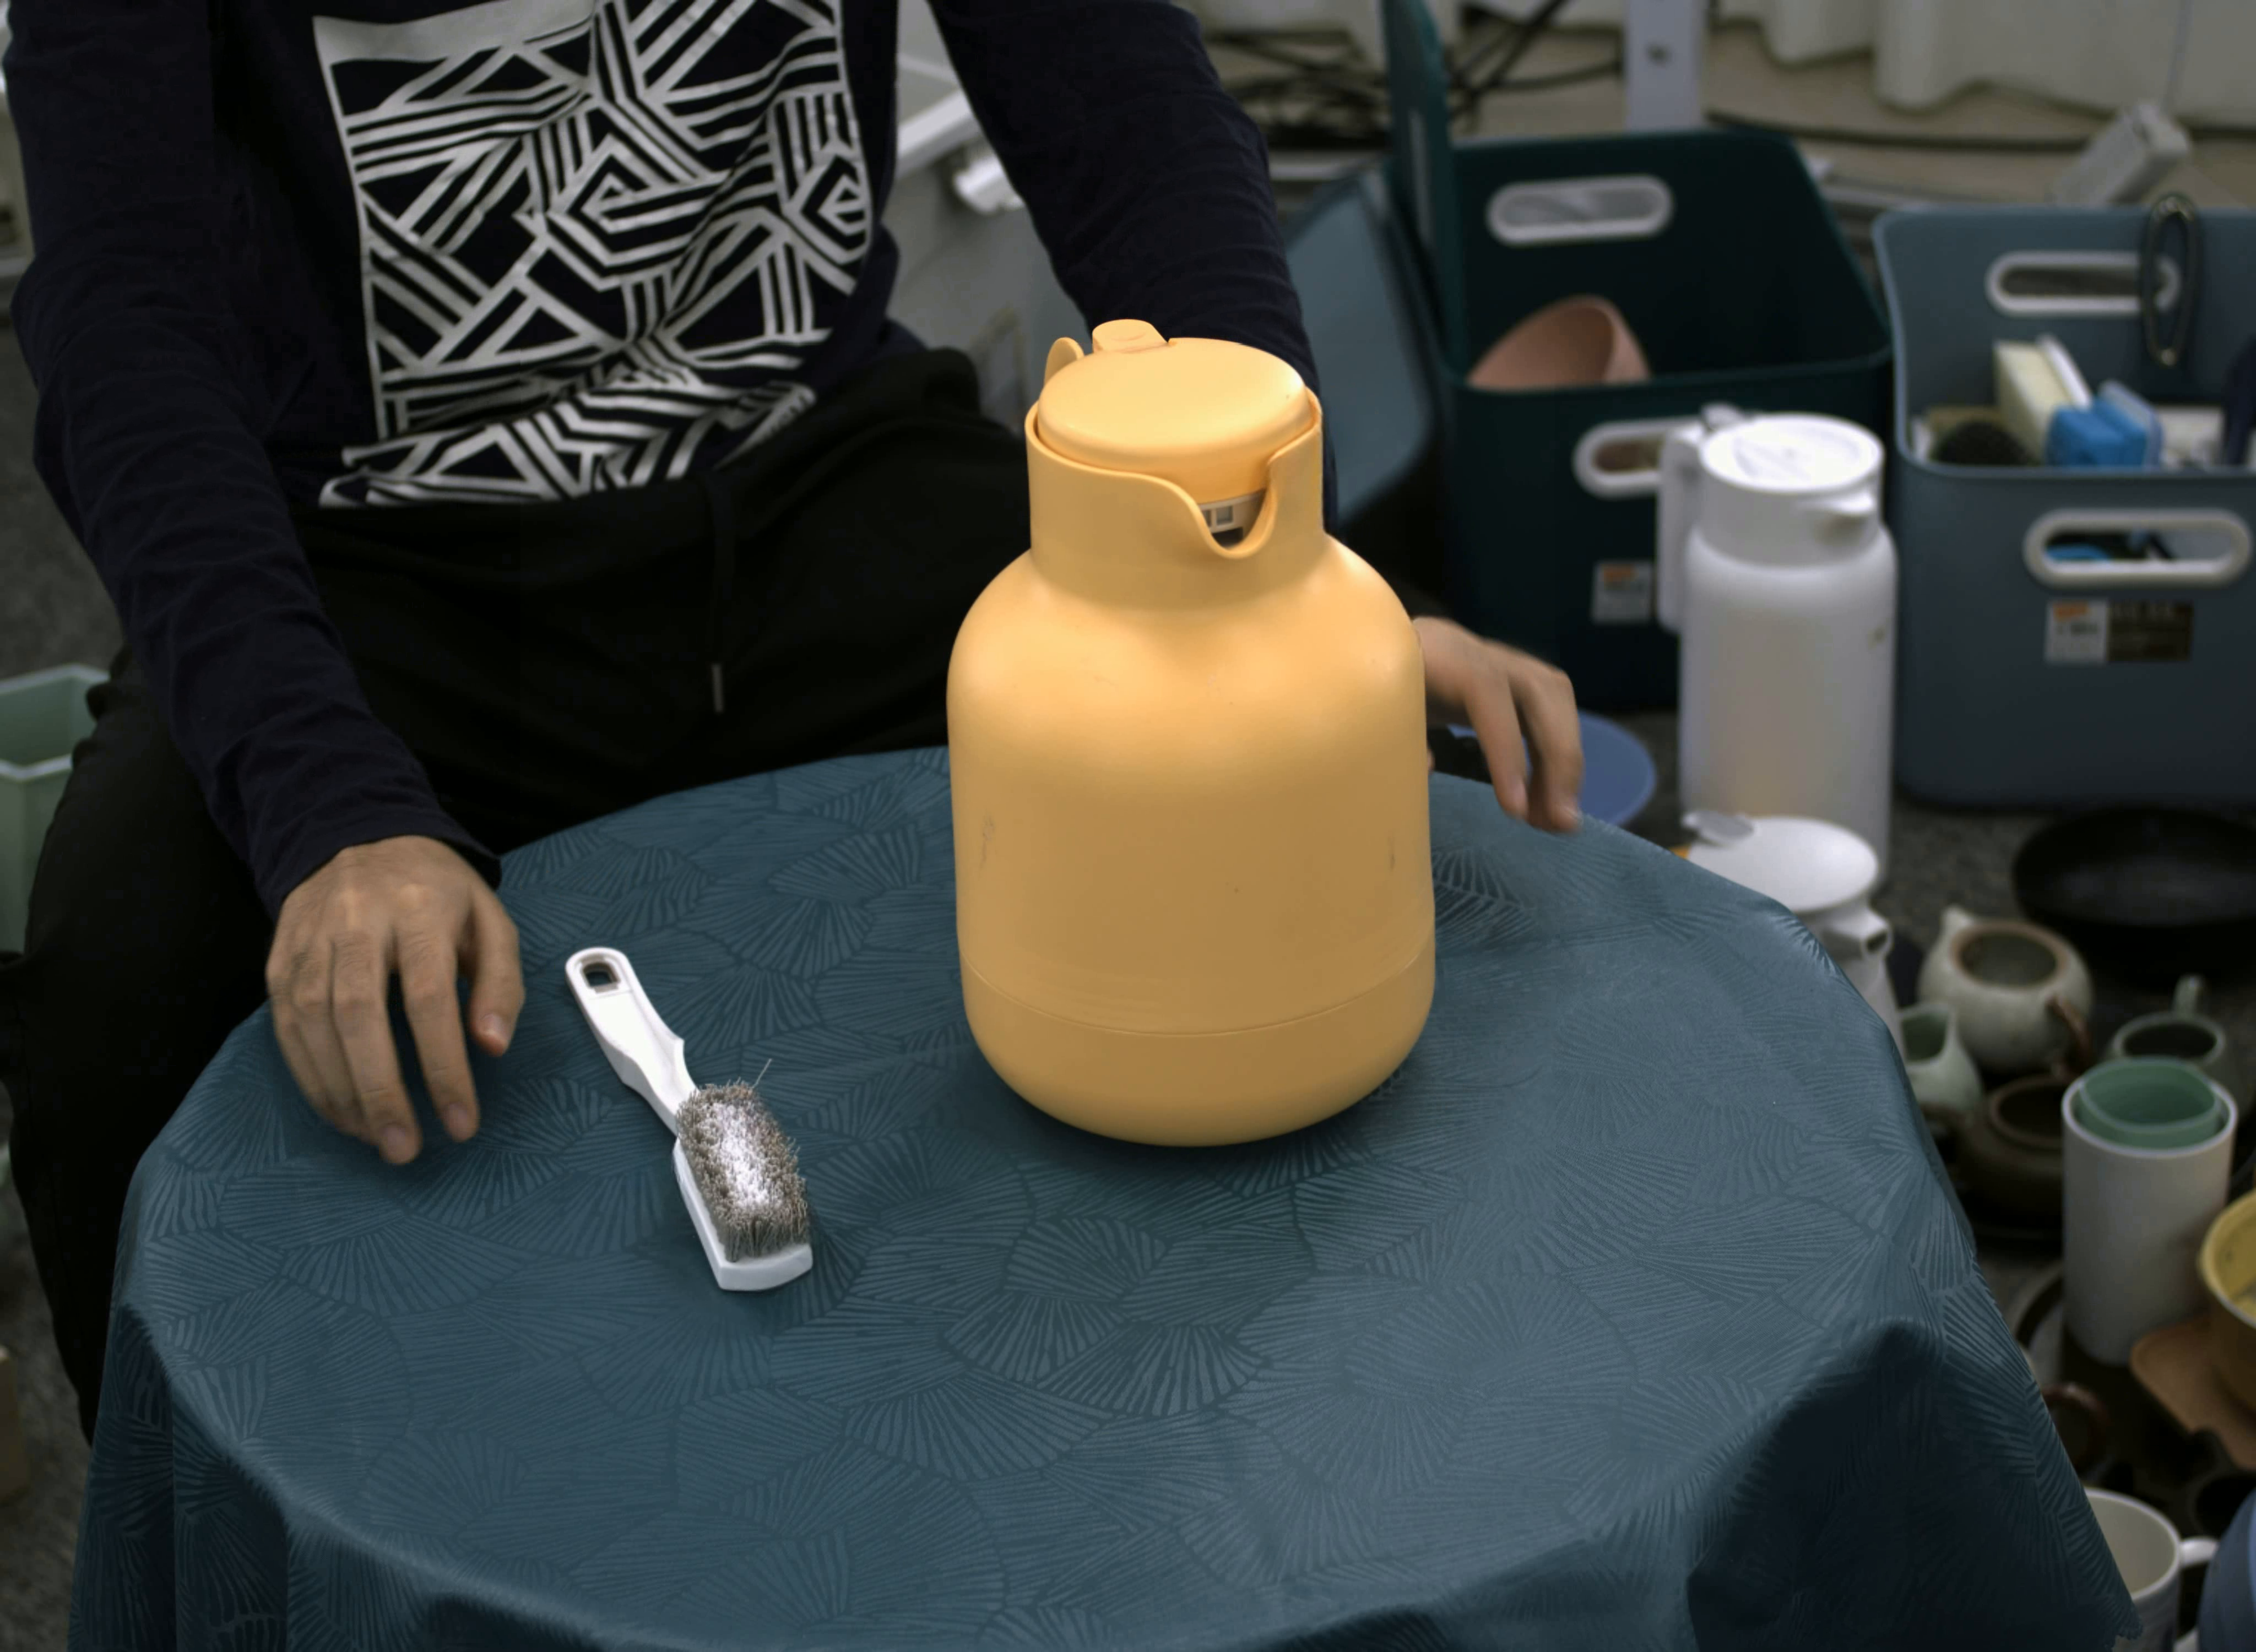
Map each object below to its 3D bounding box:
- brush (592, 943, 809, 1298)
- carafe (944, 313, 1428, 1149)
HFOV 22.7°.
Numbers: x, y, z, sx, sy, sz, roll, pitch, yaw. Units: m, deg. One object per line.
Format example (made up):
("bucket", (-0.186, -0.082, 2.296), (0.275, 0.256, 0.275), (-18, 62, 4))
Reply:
("brush", (-0.150, 0.082, 1.898), (0.034, 0.049, 0.246), (-14, 29, -11))
("carafe", (0.015, -0.041, 1.893), (0.163, 0.257, 0.204), (-7, 28, -14))
